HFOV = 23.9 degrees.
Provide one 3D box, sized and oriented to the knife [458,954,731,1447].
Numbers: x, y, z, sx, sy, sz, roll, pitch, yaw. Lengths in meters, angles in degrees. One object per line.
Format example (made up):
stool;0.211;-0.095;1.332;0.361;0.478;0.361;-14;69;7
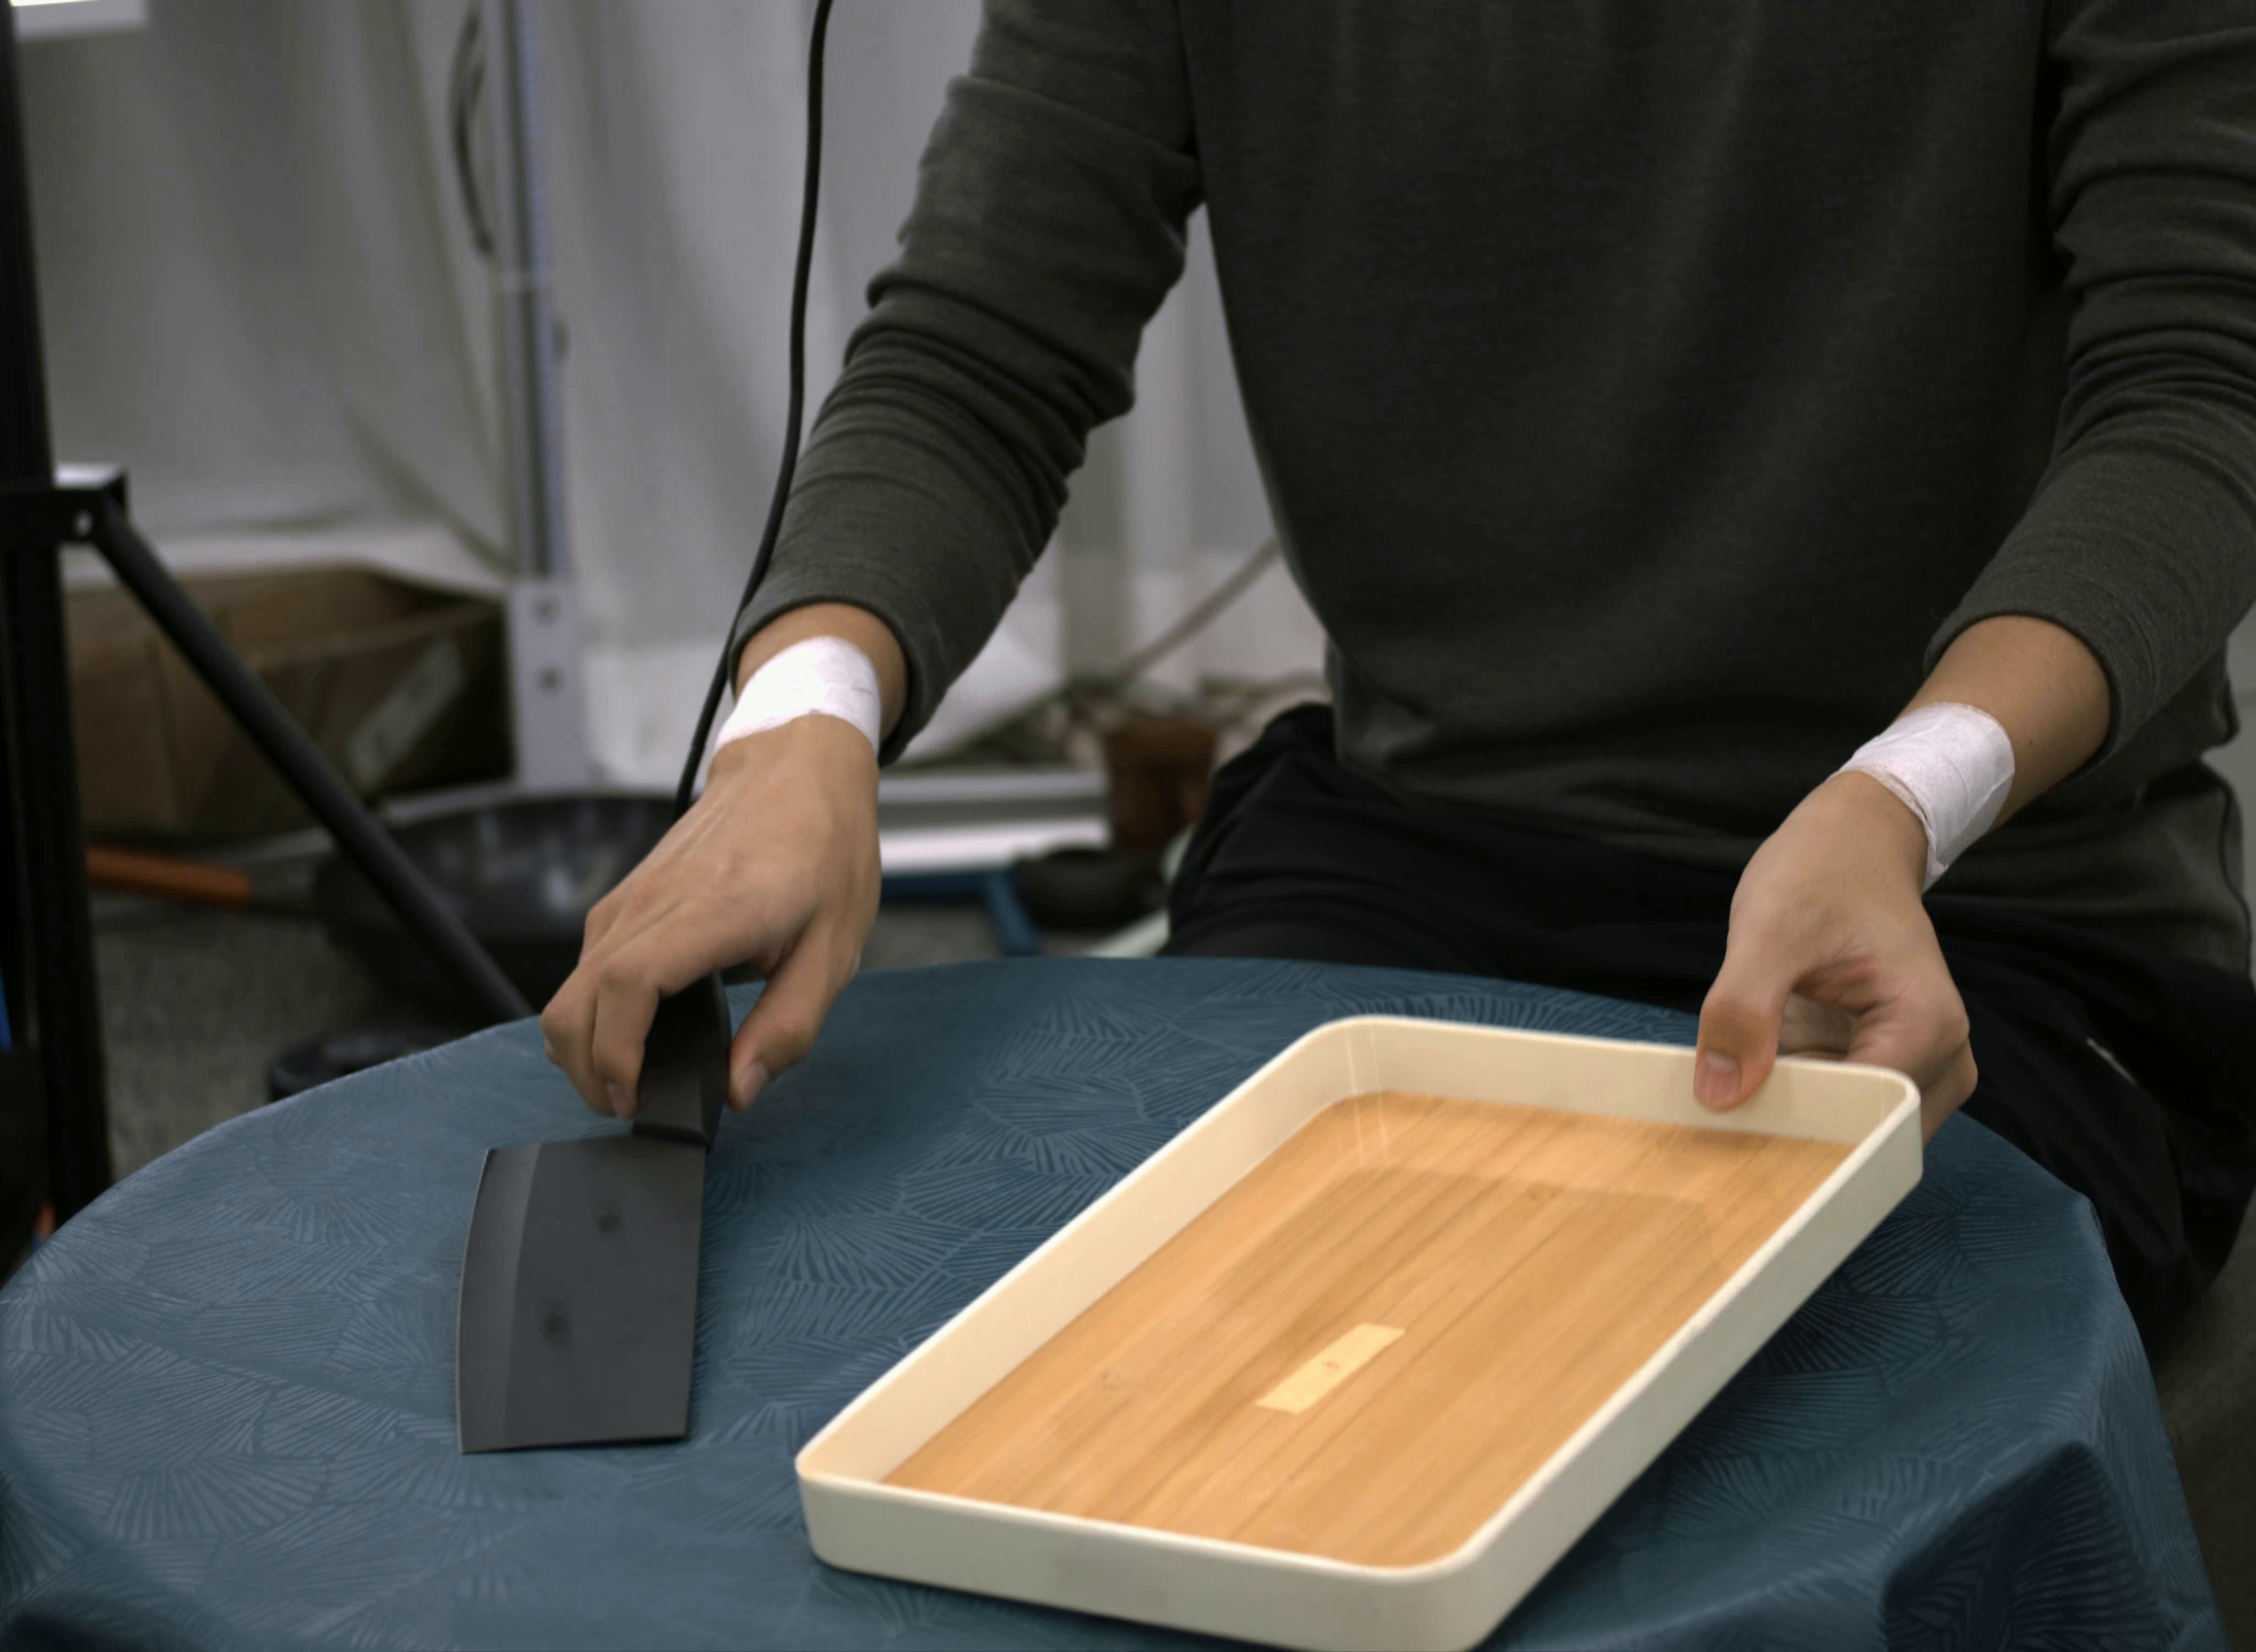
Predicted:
knife;-0.149;0.105;1.527;0.081;0.021;0.303;-2;22;3

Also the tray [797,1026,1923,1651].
tray;0.068;0.127;1.372;0.195;0.027;0.295;5;23;31
